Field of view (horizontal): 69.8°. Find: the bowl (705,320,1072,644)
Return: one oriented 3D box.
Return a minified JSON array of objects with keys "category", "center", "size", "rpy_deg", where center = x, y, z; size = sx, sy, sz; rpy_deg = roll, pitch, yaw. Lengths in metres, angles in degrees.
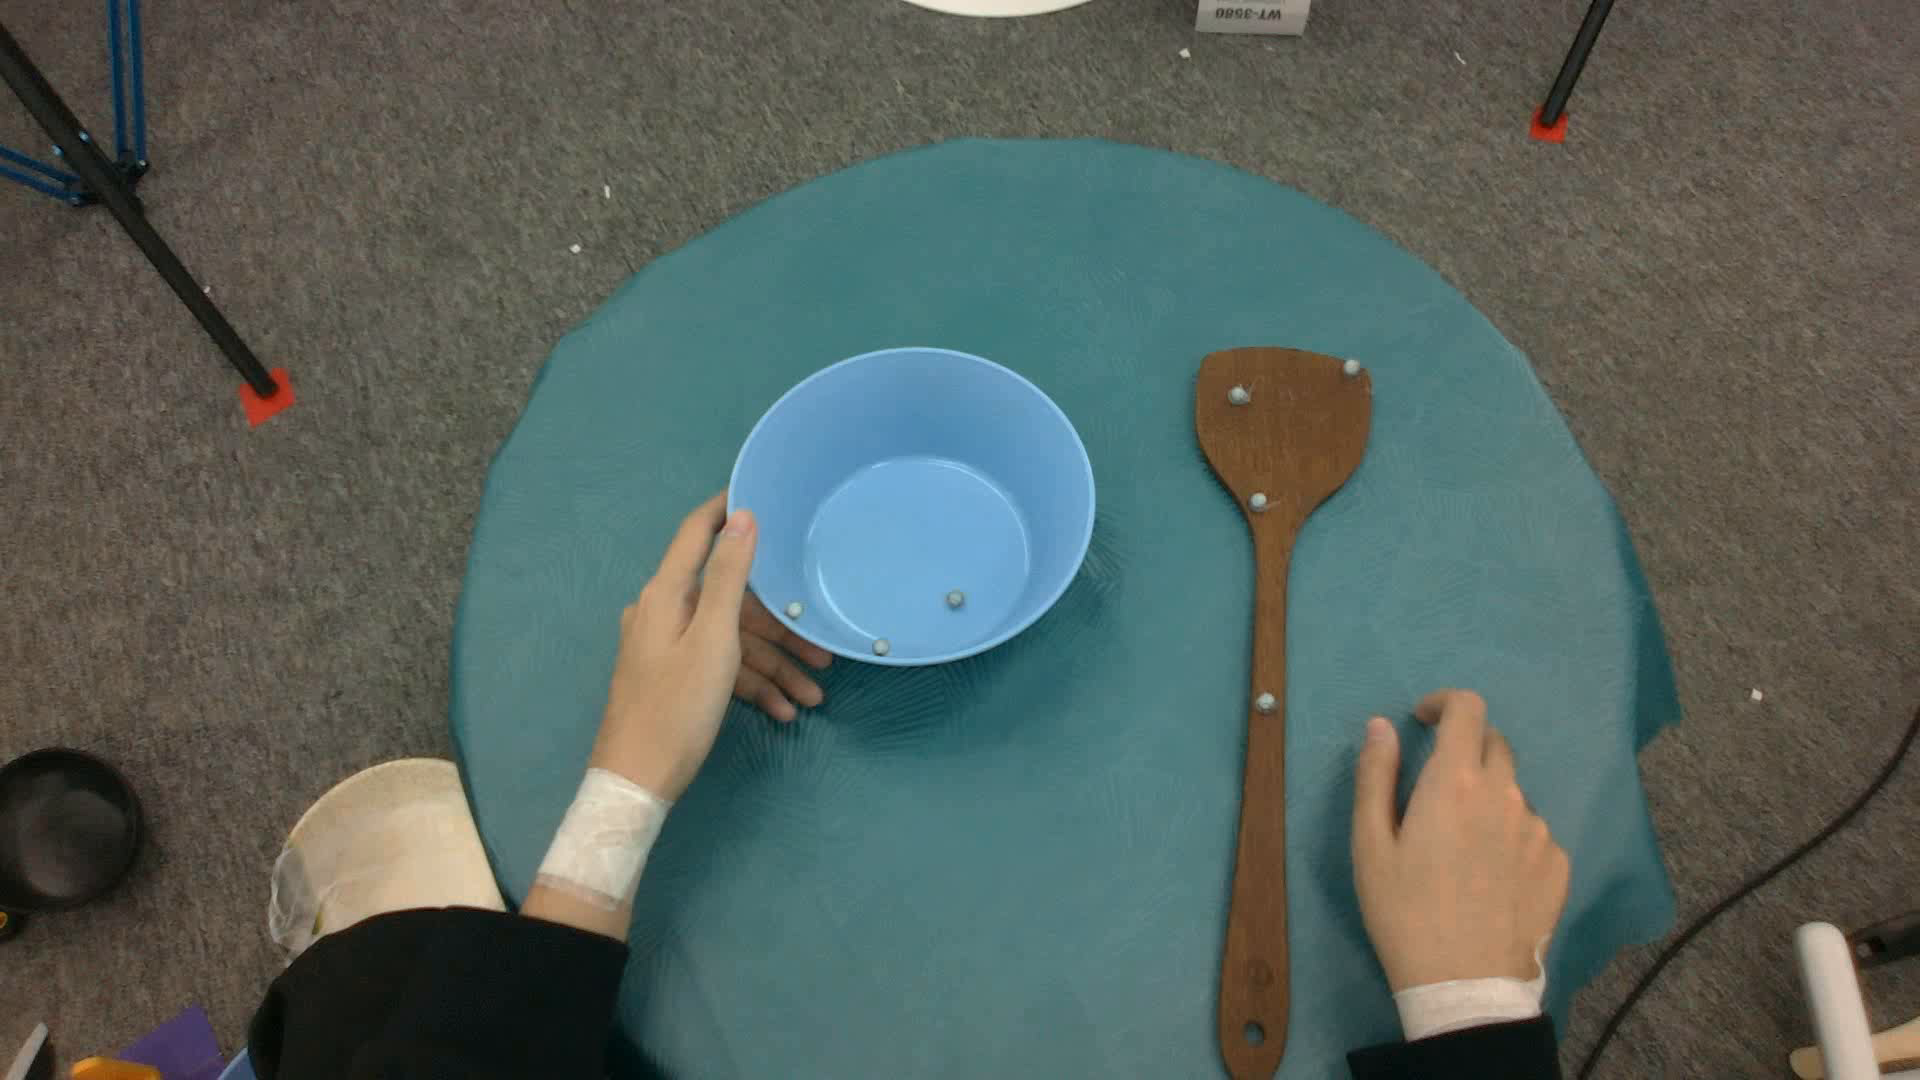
[{"category":"bowl","center":[-0.033,-0.019,0.685],"size":[0.176,0.070,0.177],"rpy_deg":[0,63,0]}]

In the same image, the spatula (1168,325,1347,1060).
[{"category":"spatula","center":[0.141,0.052,0.677],"size":[0.096,0.016,0.387],"rpy_deg":[6,62,4]}]
